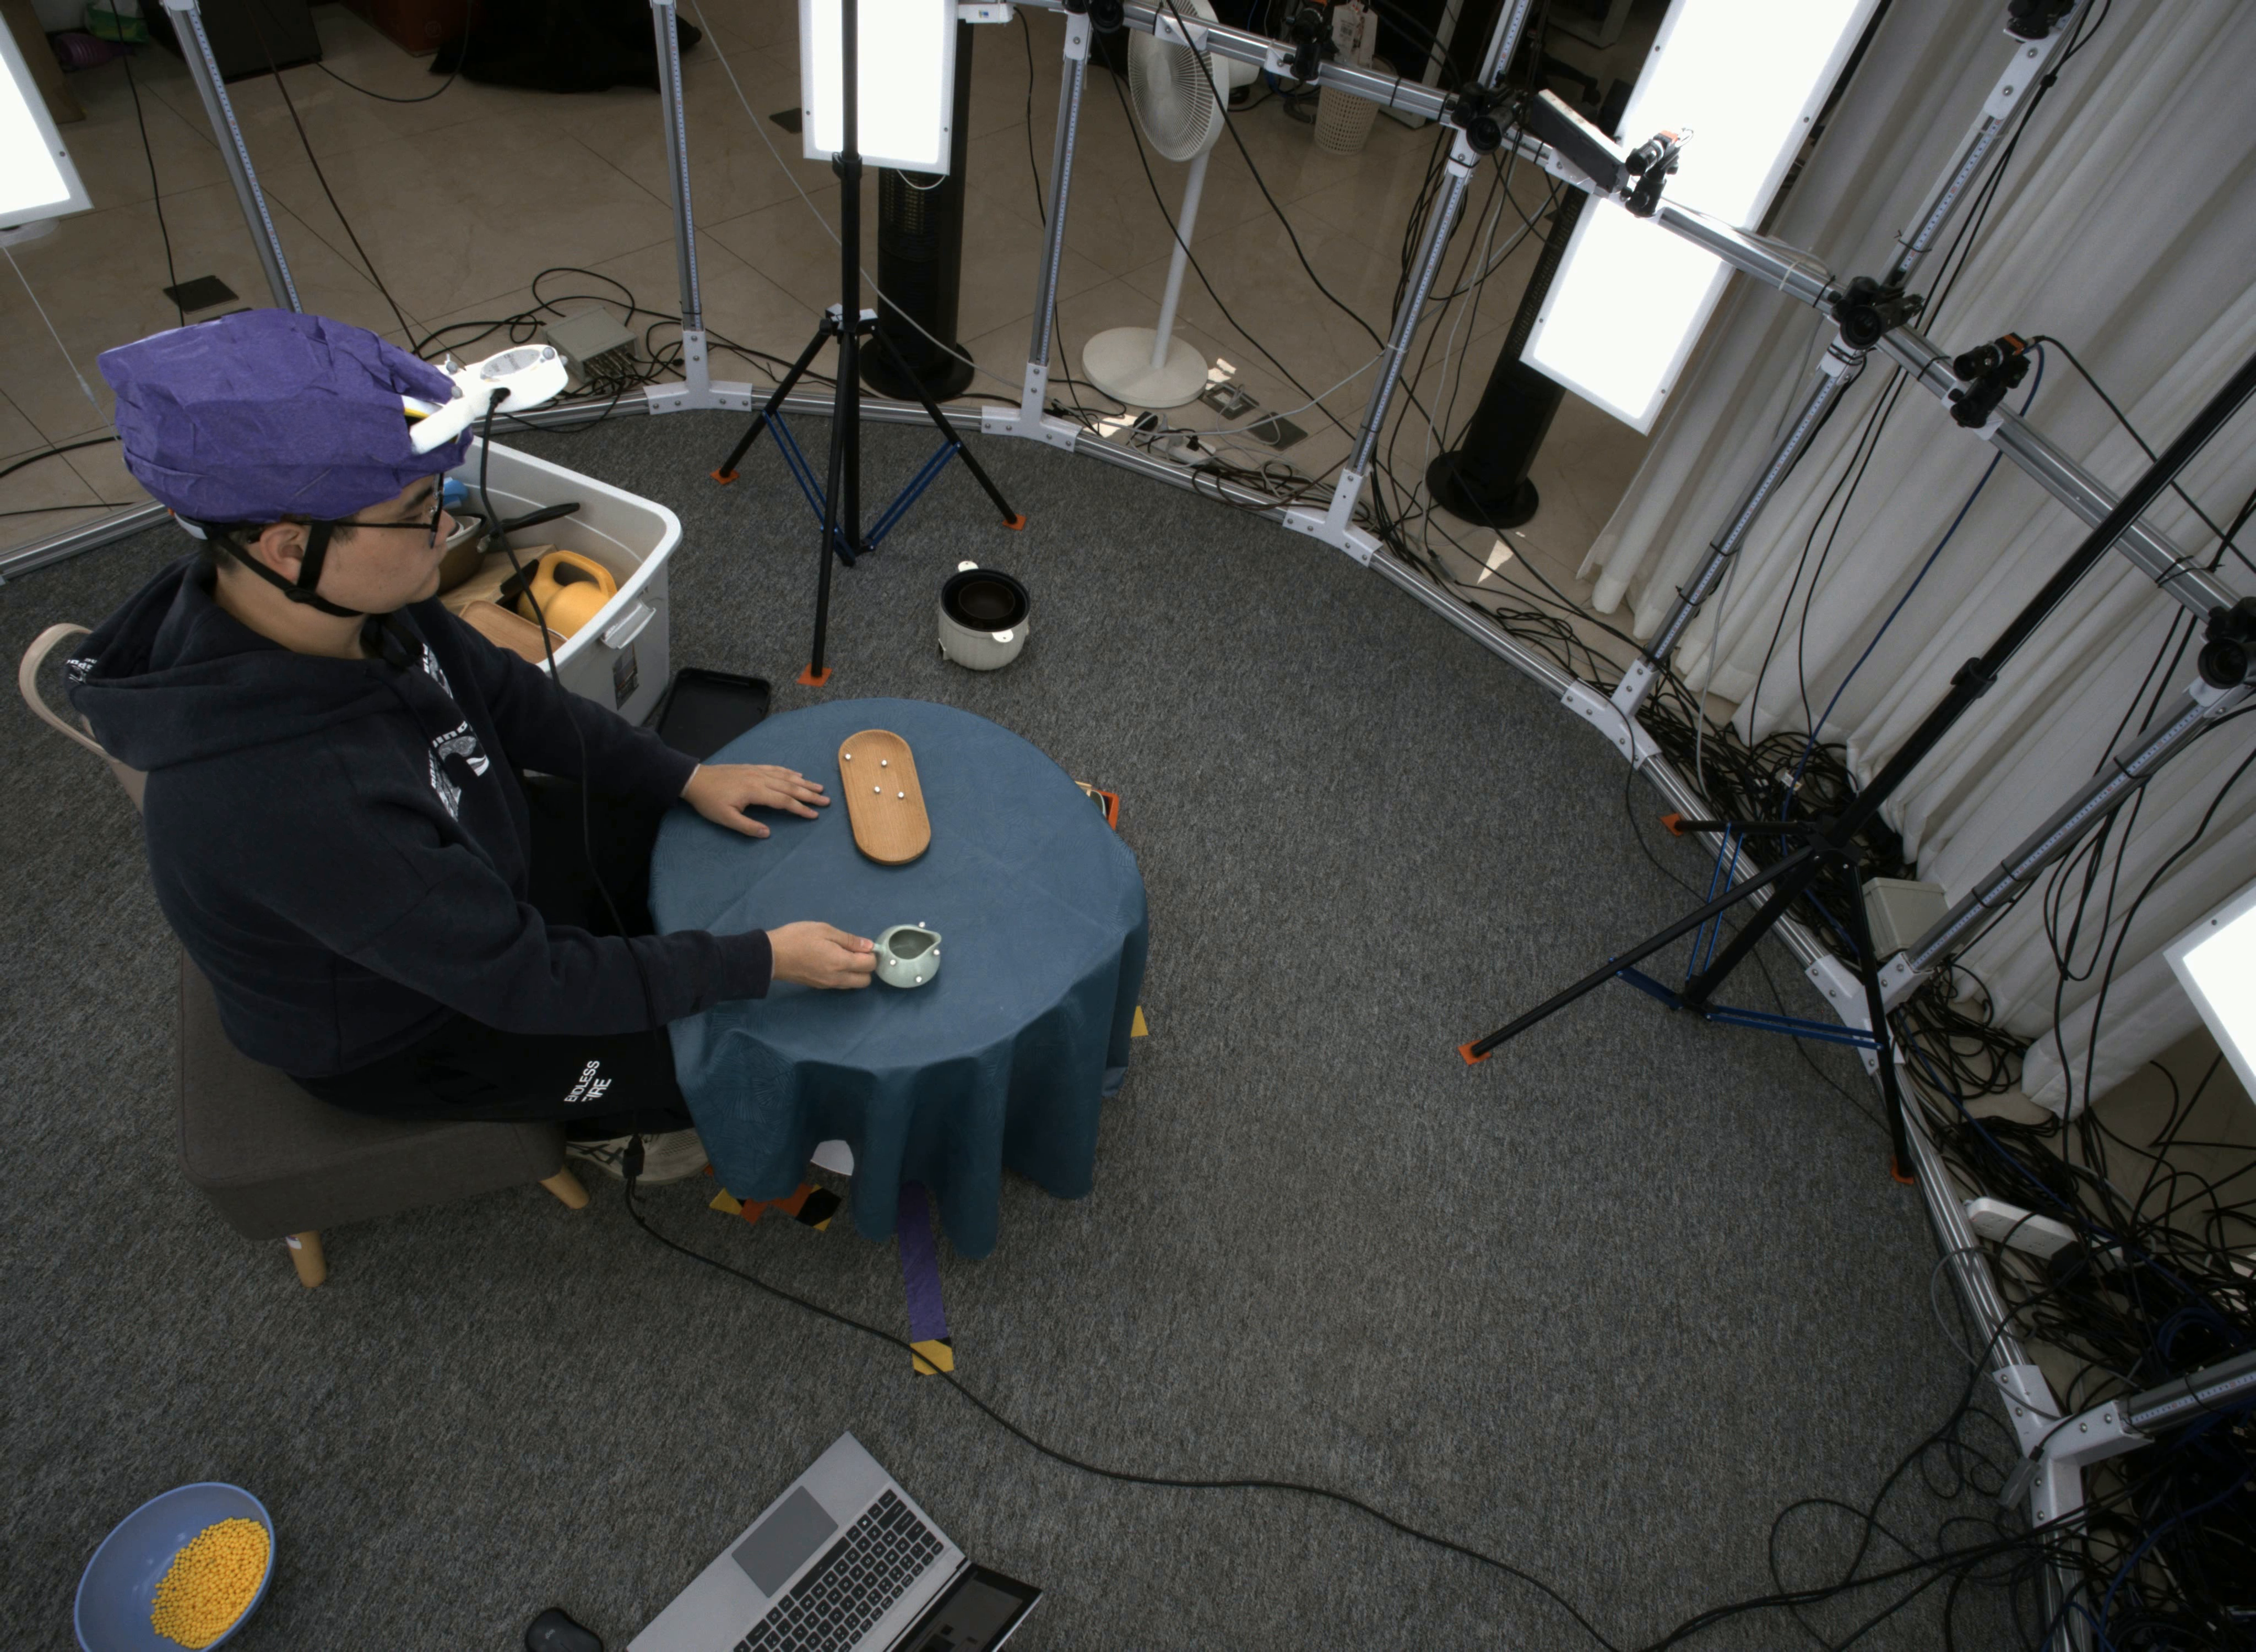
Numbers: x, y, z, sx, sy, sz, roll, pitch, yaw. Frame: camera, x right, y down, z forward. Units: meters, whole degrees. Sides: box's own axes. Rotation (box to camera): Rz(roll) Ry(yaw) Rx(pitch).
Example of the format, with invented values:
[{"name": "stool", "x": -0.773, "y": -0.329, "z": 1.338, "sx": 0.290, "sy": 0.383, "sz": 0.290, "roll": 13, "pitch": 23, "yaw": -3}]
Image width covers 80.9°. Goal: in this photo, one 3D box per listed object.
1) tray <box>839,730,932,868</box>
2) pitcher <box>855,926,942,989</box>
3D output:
[{"name": "tray", "x": -0.331, "y": -0.040, "z": 1.763, "sx": 0.102, "sy": 0.021, "sz": 0.226, "roll": -9, "pitch": 59, "yaw": -18}, {"name": "pitcher", "x": -0.281, "y": 0.158, "z": 1.596, "sx": 0.108, "sy": 0.061, "sz": 0.084, "roll": -10, "pitch": 56, "yaw": -23}]
